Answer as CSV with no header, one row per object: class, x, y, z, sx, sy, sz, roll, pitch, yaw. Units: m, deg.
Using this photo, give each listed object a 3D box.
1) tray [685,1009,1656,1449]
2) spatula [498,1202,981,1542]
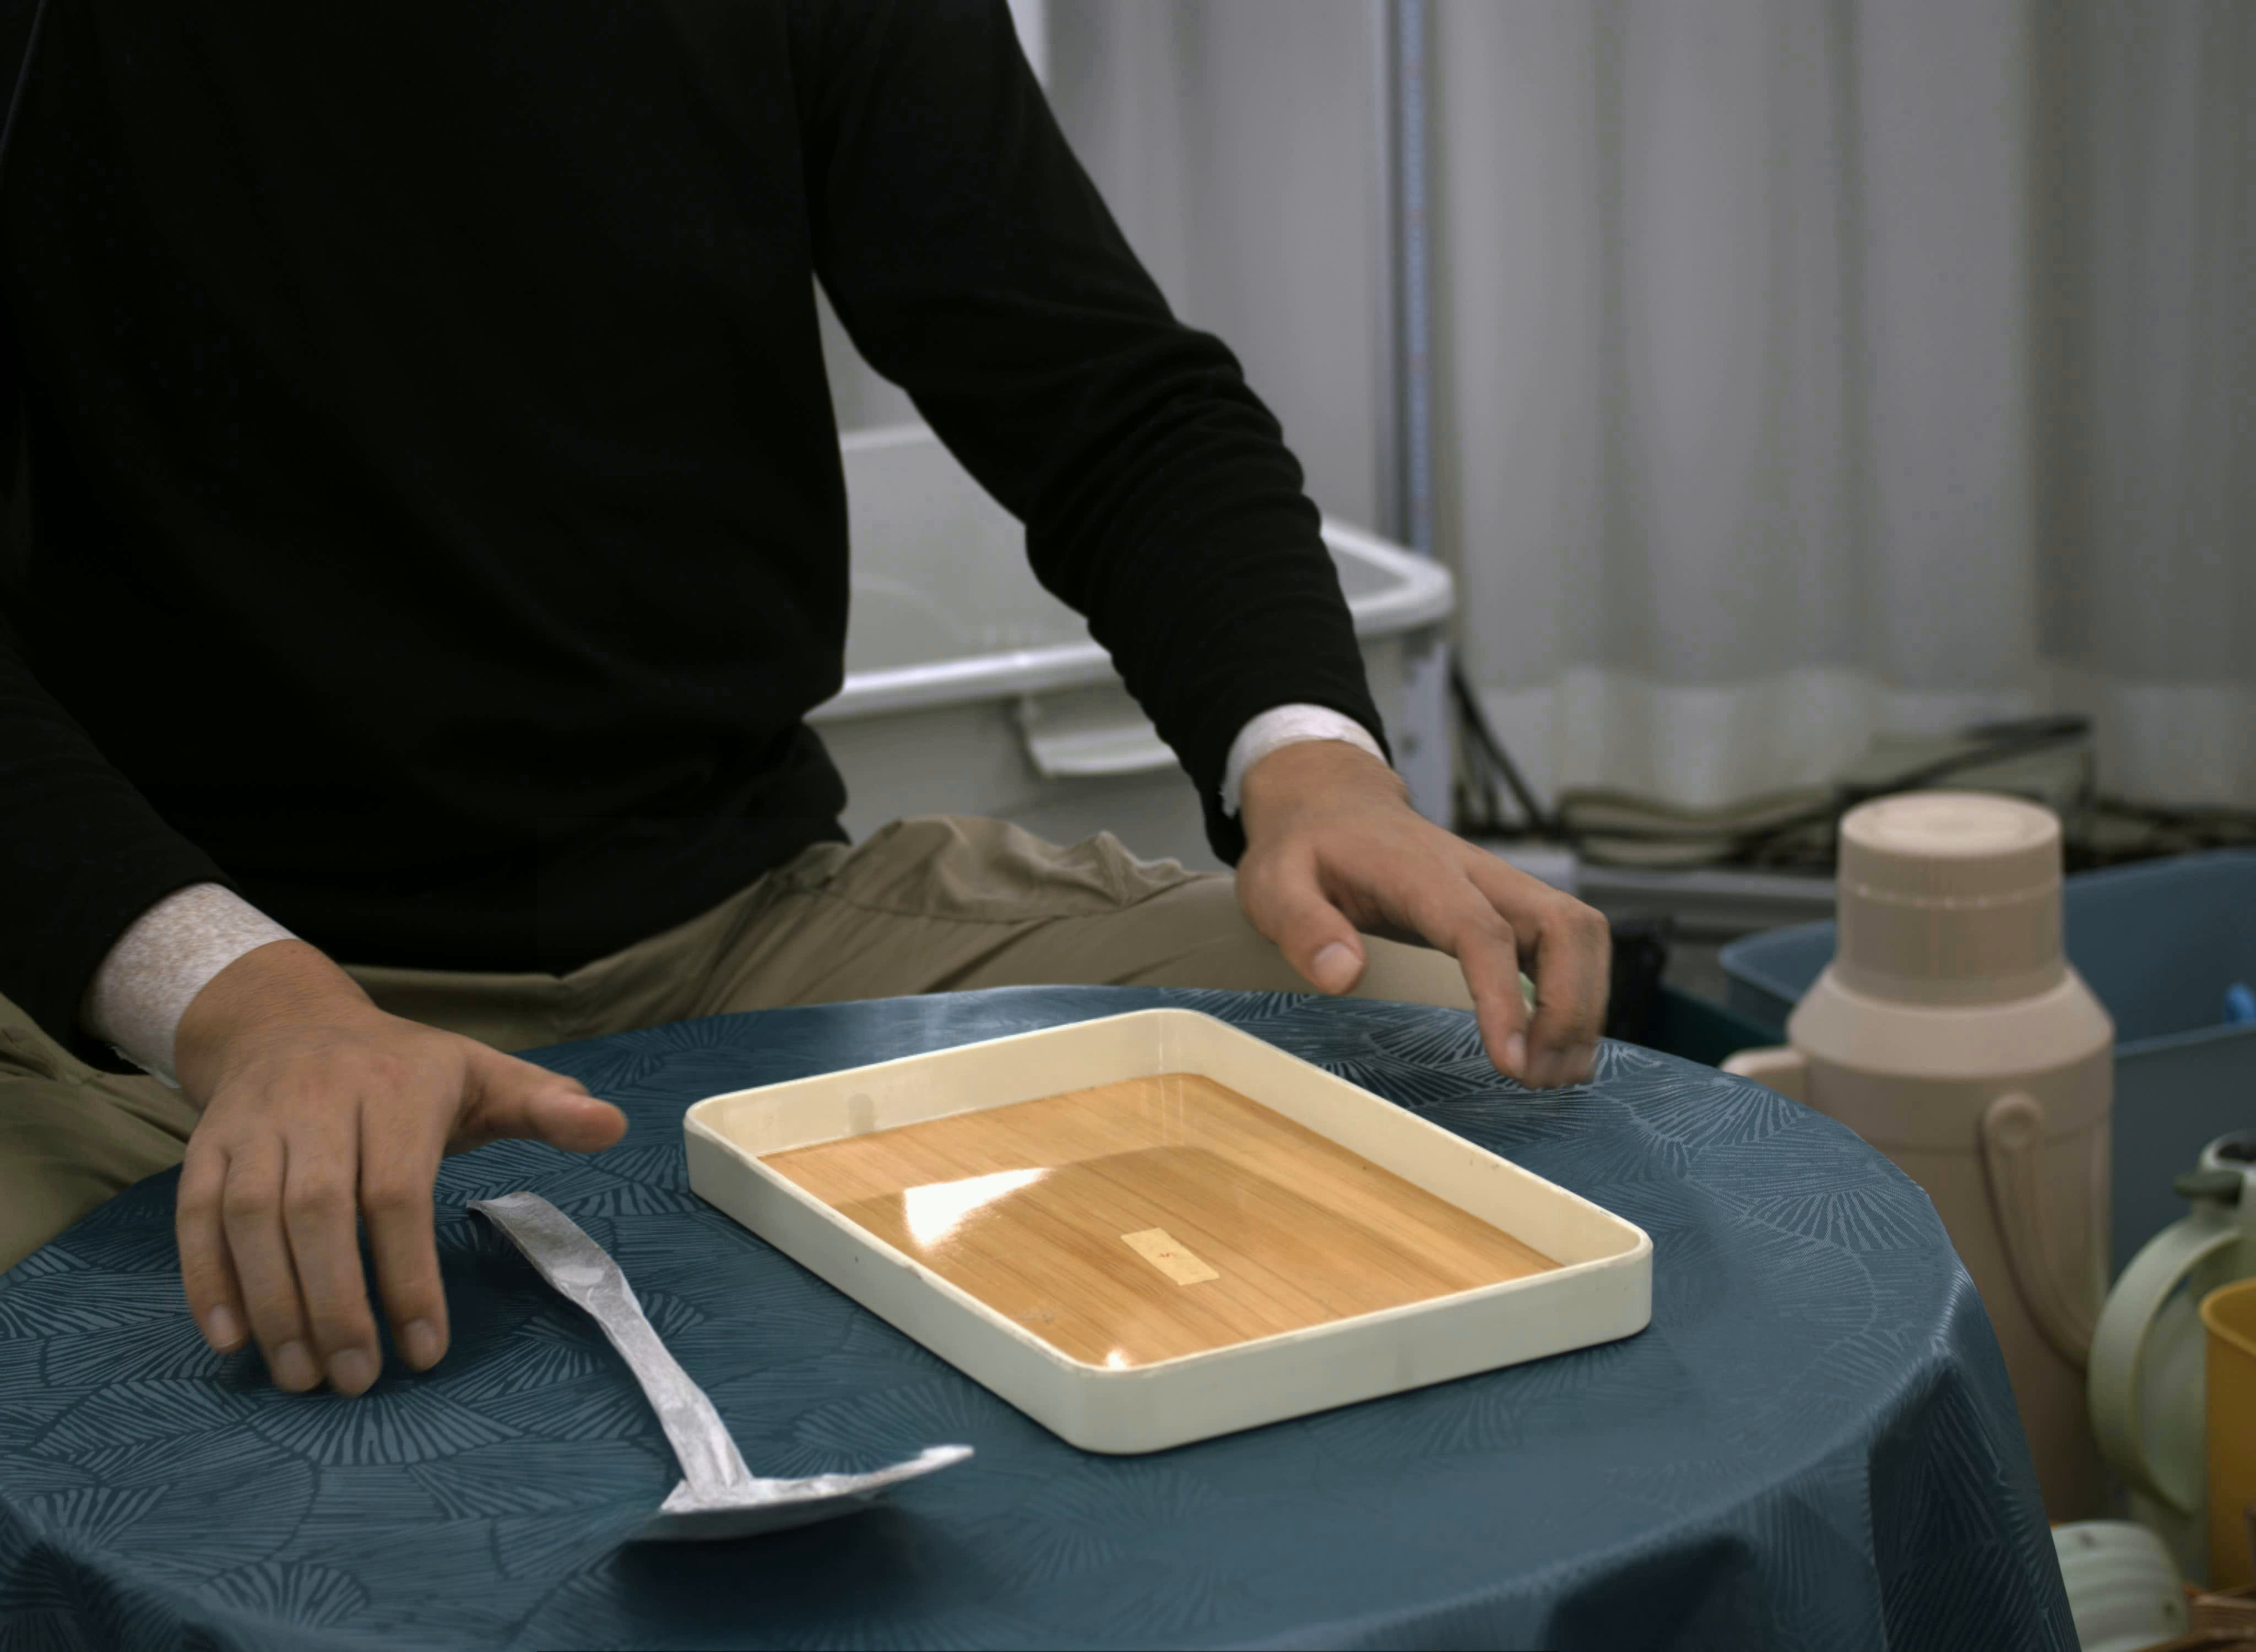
tray,0.006,0.117,1.653,0.191,0.027,0.302,-10,16,-25
spatula,-0.135,0.145,1.552,0.098,0.044,0.368,-8,16,-18
